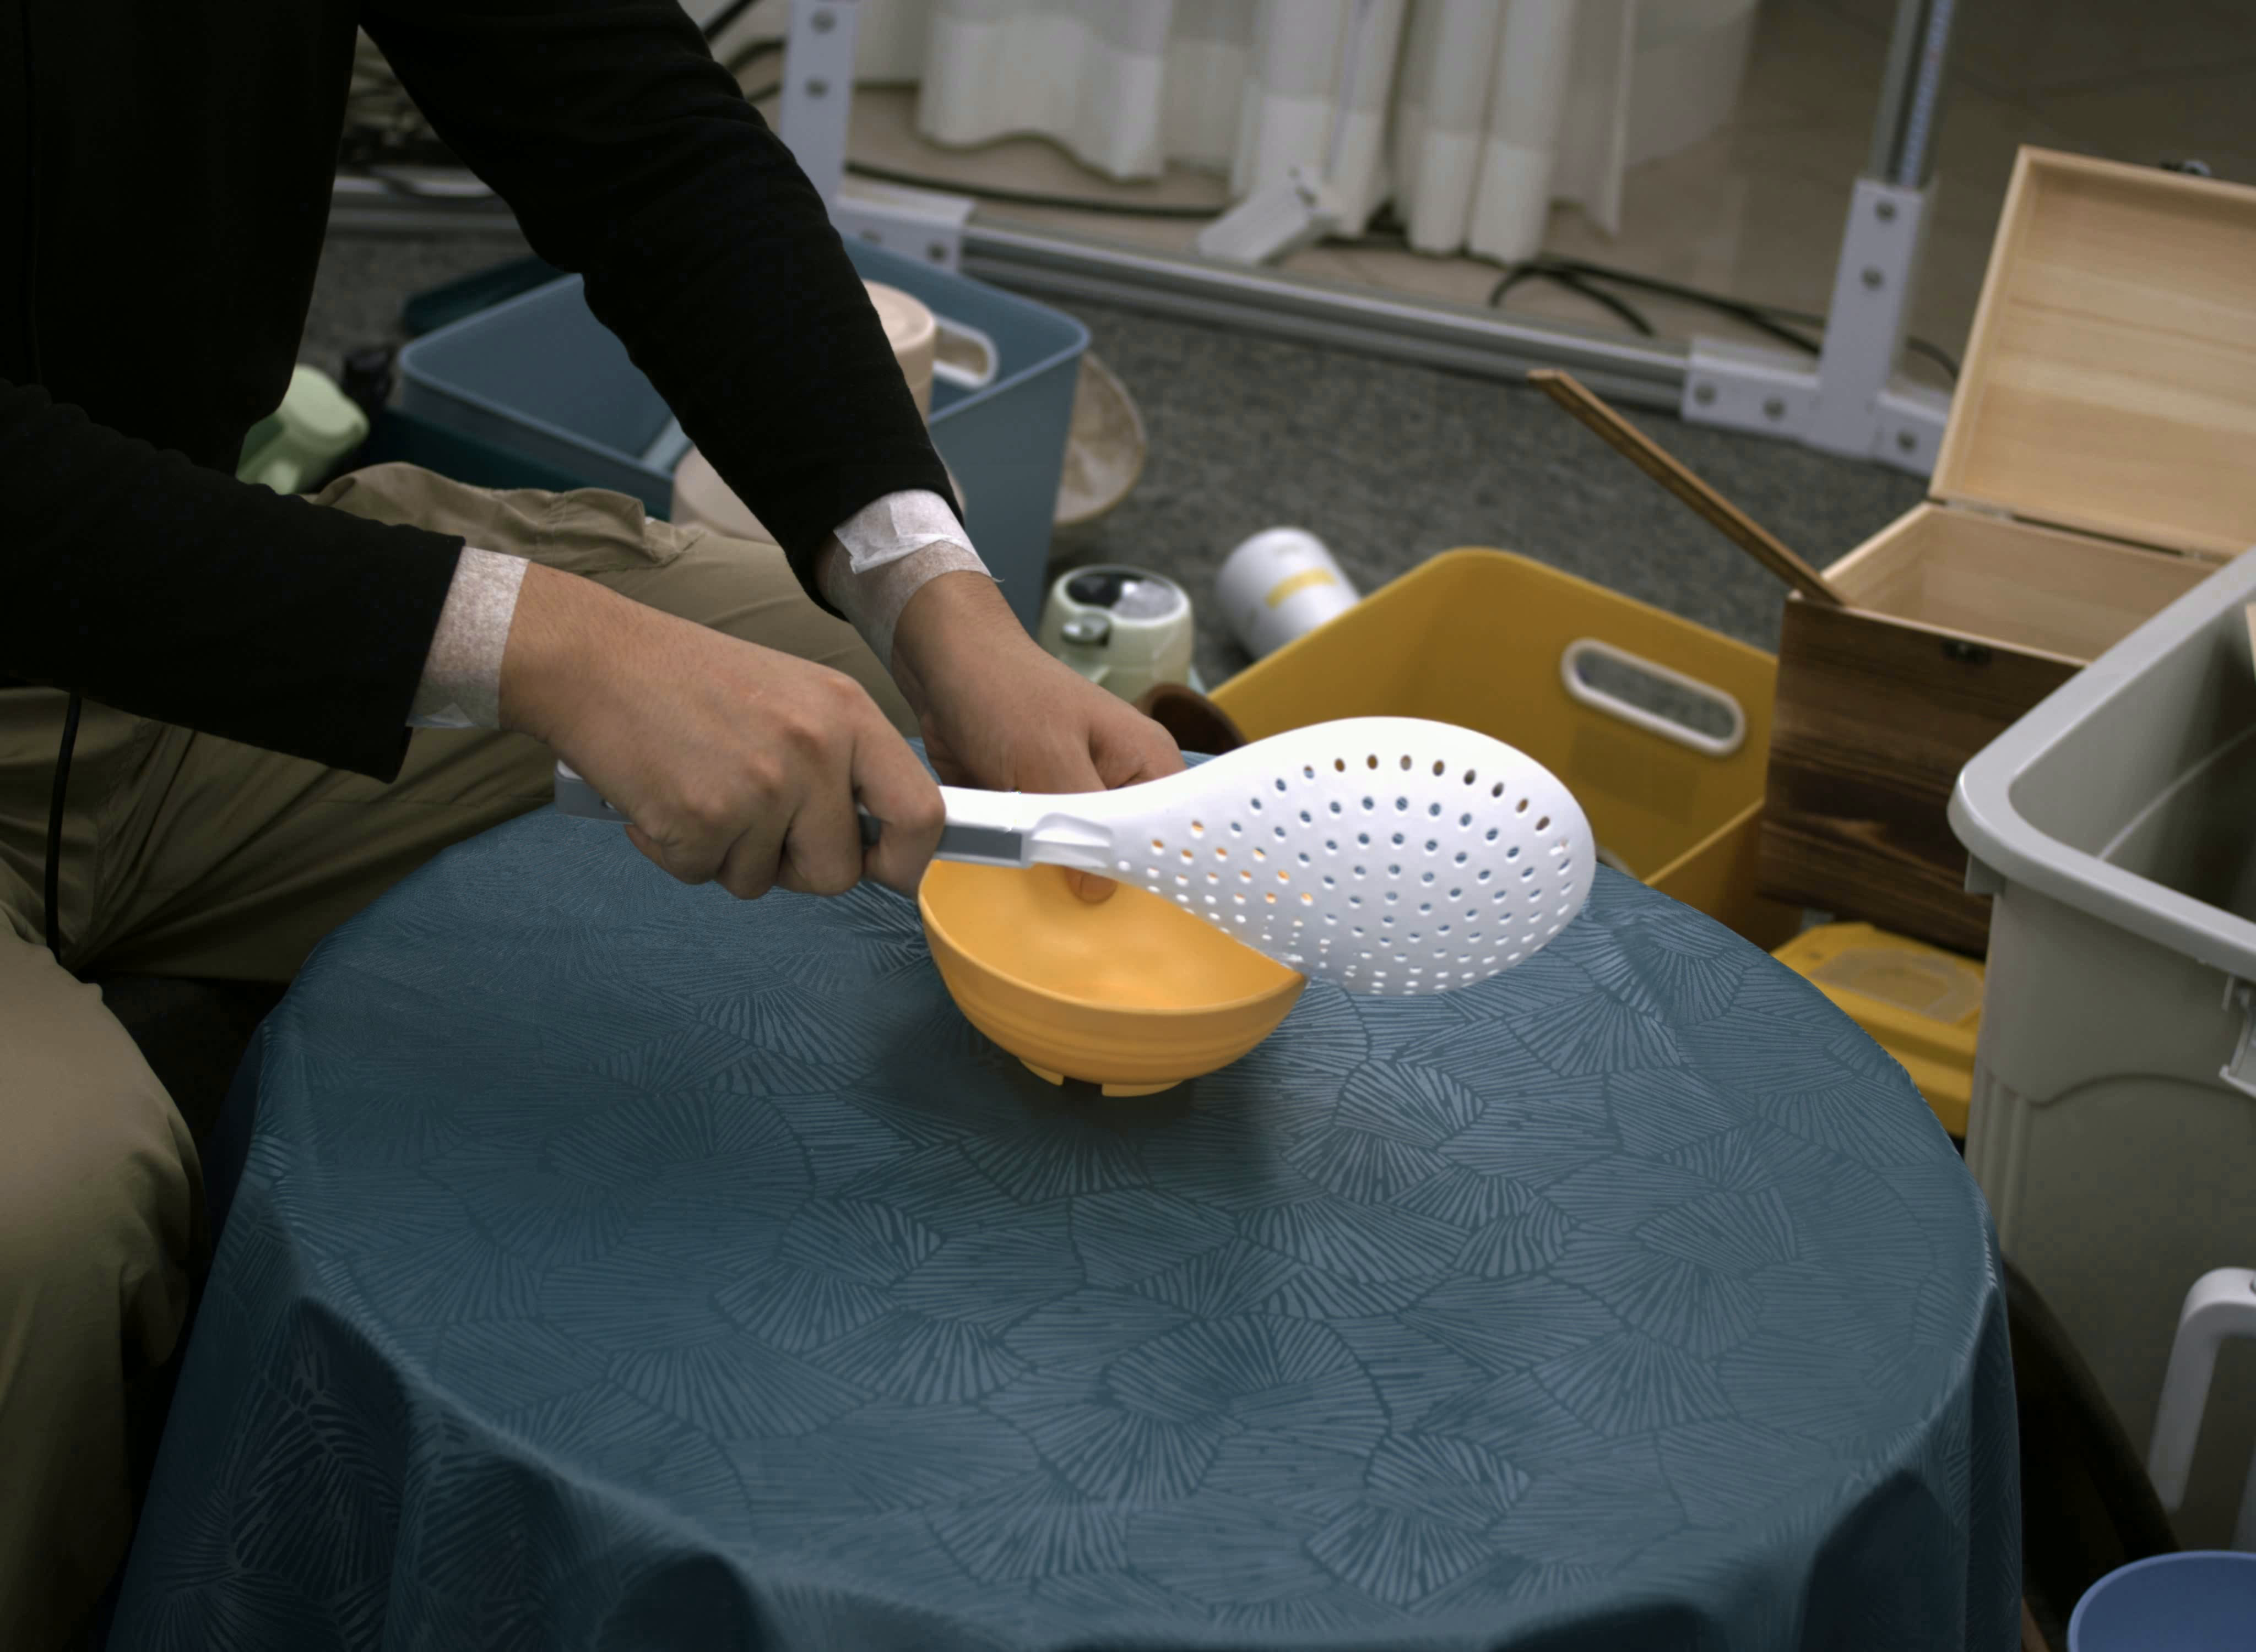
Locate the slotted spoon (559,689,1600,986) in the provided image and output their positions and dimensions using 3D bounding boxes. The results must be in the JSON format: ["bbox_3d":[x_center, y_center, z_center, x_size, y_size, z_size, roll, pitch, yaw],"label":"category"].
[{"bbox_3d":[-0.017,0.000,1.787,0.349,0.135,0.046,8,46,5],"label":"slotted spoon"}]

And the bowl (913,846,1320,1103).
[{"bbox_3d":[-0.007,0.056,1.875,0.145,0.060,0.146,7,25,-4],"label":"bowl"}]
